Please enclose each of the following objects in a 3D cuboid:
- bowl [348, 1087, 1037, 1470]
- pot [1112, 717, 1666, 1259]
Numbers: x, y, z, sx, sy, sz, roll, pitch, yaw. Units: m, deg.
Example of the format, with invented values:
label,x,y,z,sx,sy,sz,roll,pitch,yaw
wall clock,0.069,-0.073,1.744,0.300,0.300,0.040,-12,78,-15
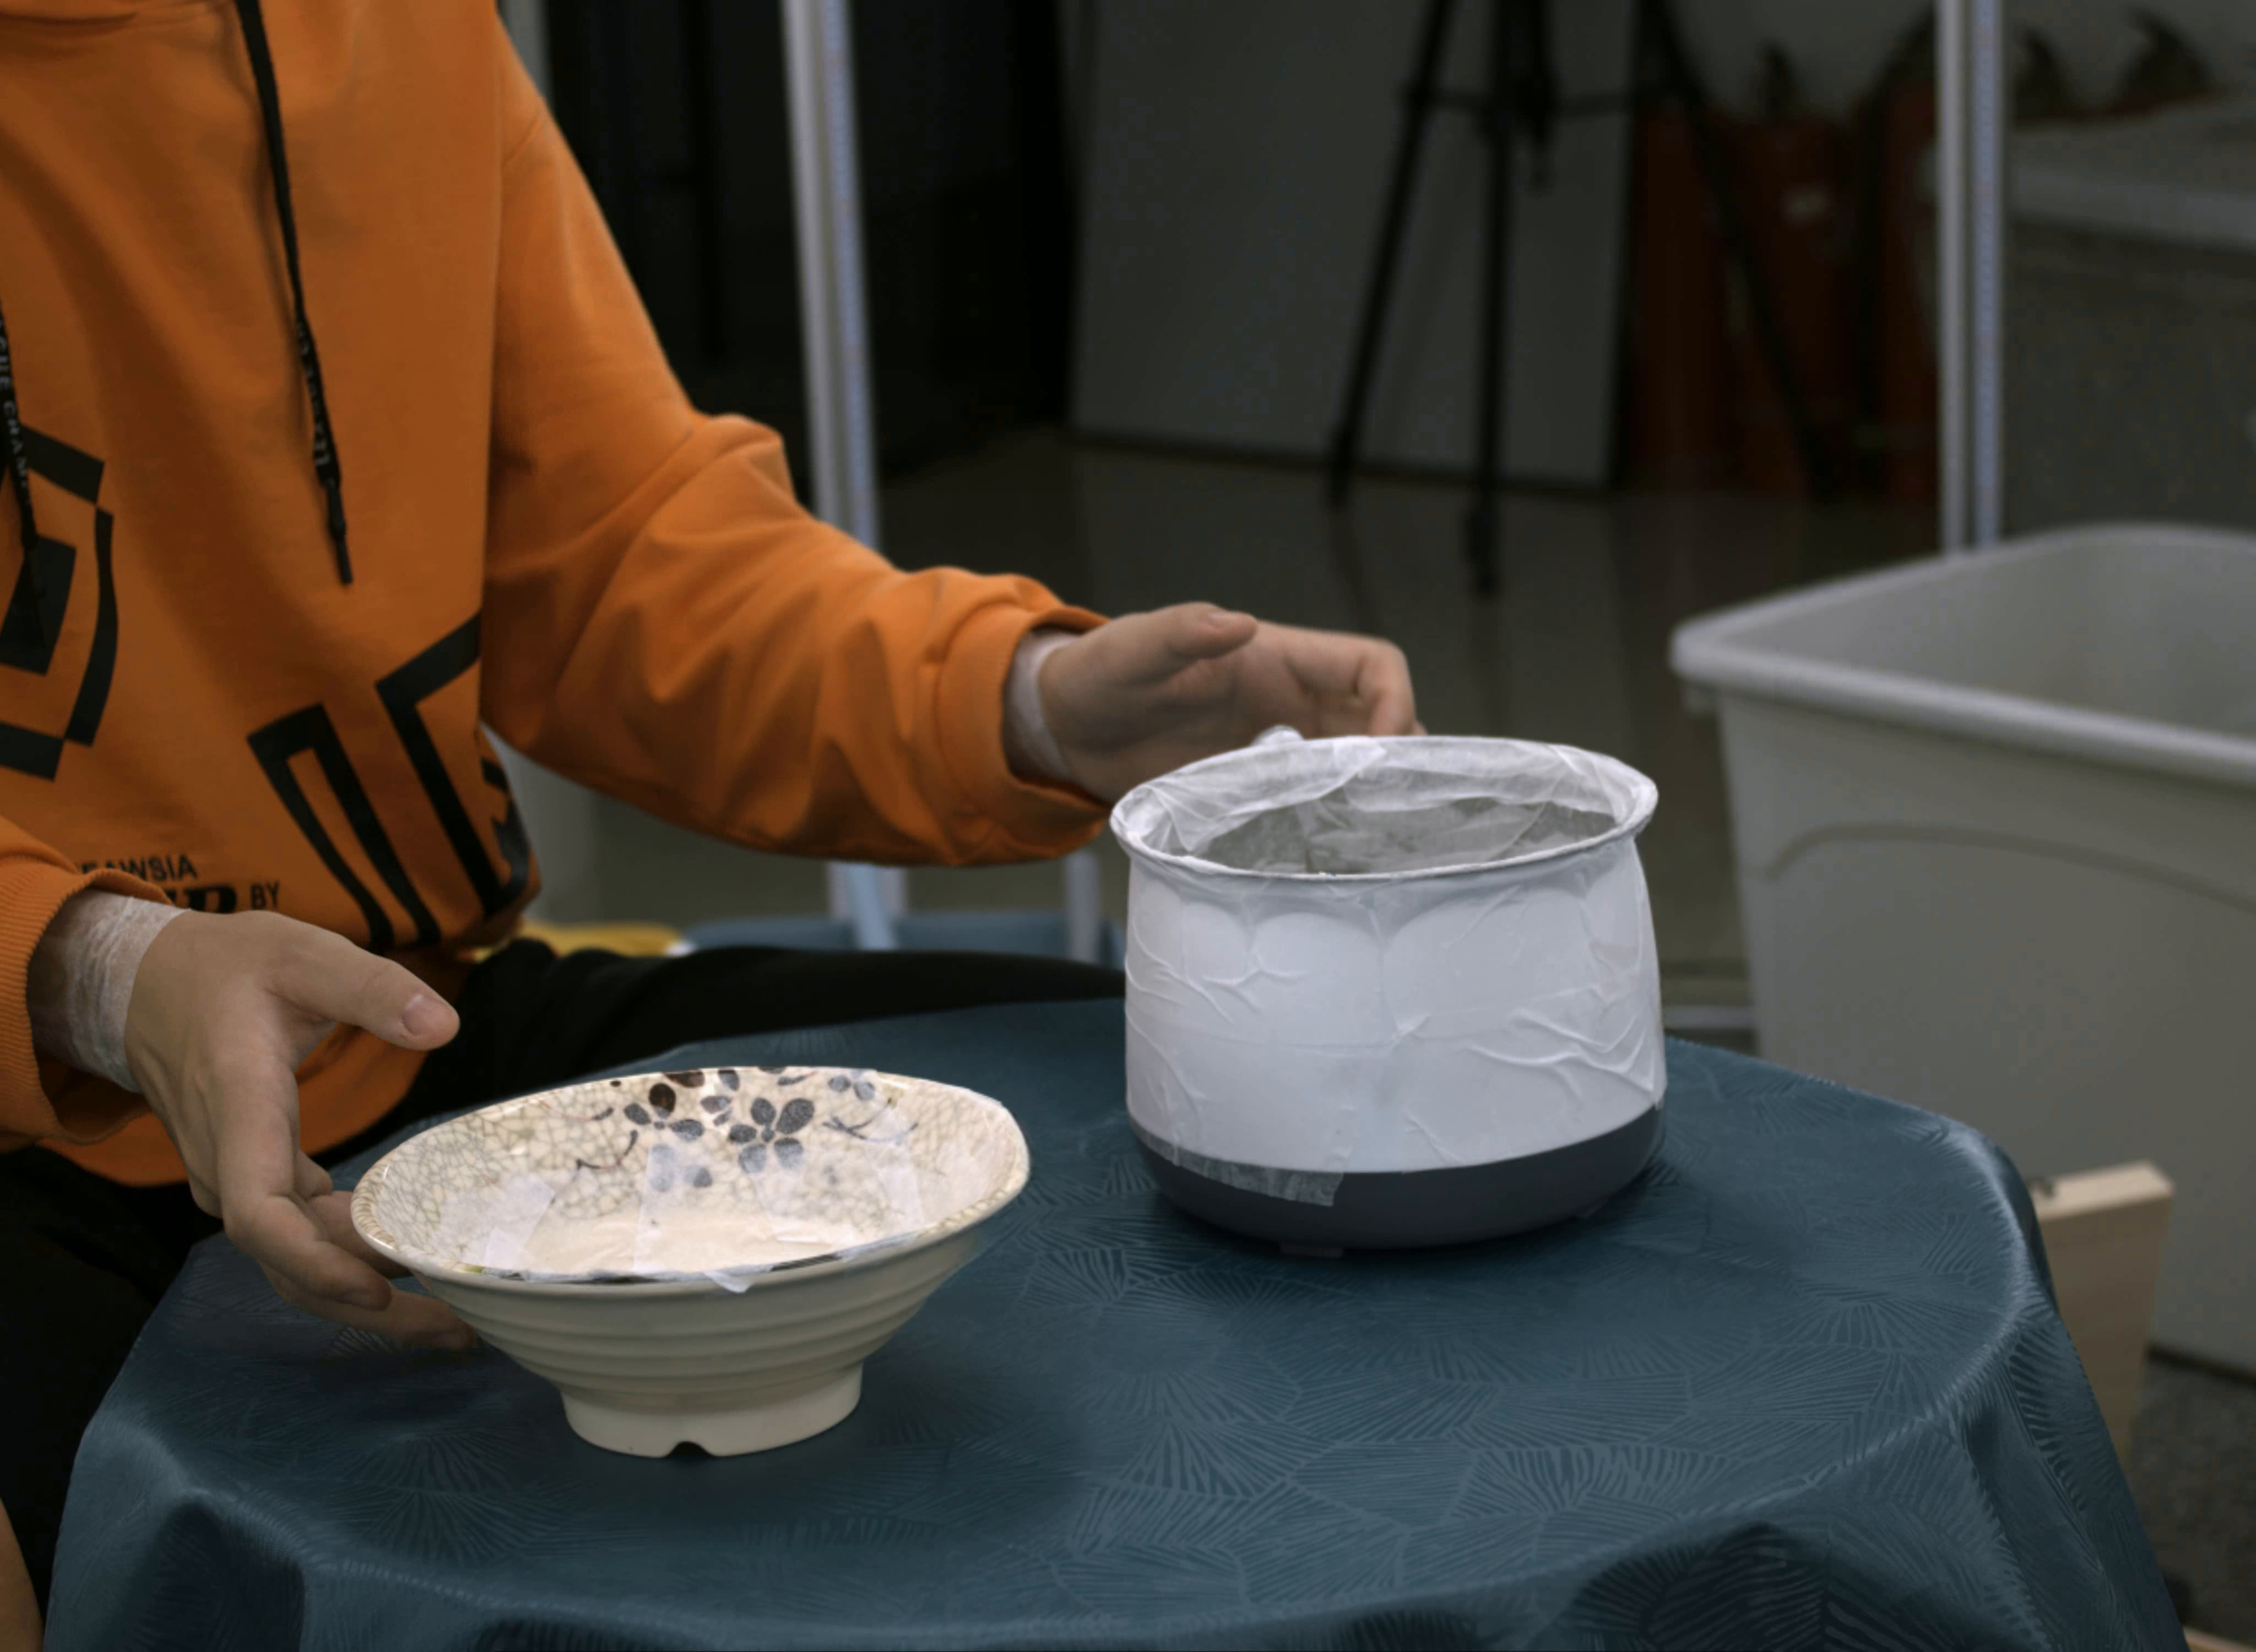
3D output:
label,x,y,z,sx,sy,sz,roll,pitch,yaw
bowl,-0.123,0.138,1.584,0.201,0.079,0.204,-6,11,0
pot,0.076,0.046,1.761,0.175,0.138,0.236,-8,15,-18
